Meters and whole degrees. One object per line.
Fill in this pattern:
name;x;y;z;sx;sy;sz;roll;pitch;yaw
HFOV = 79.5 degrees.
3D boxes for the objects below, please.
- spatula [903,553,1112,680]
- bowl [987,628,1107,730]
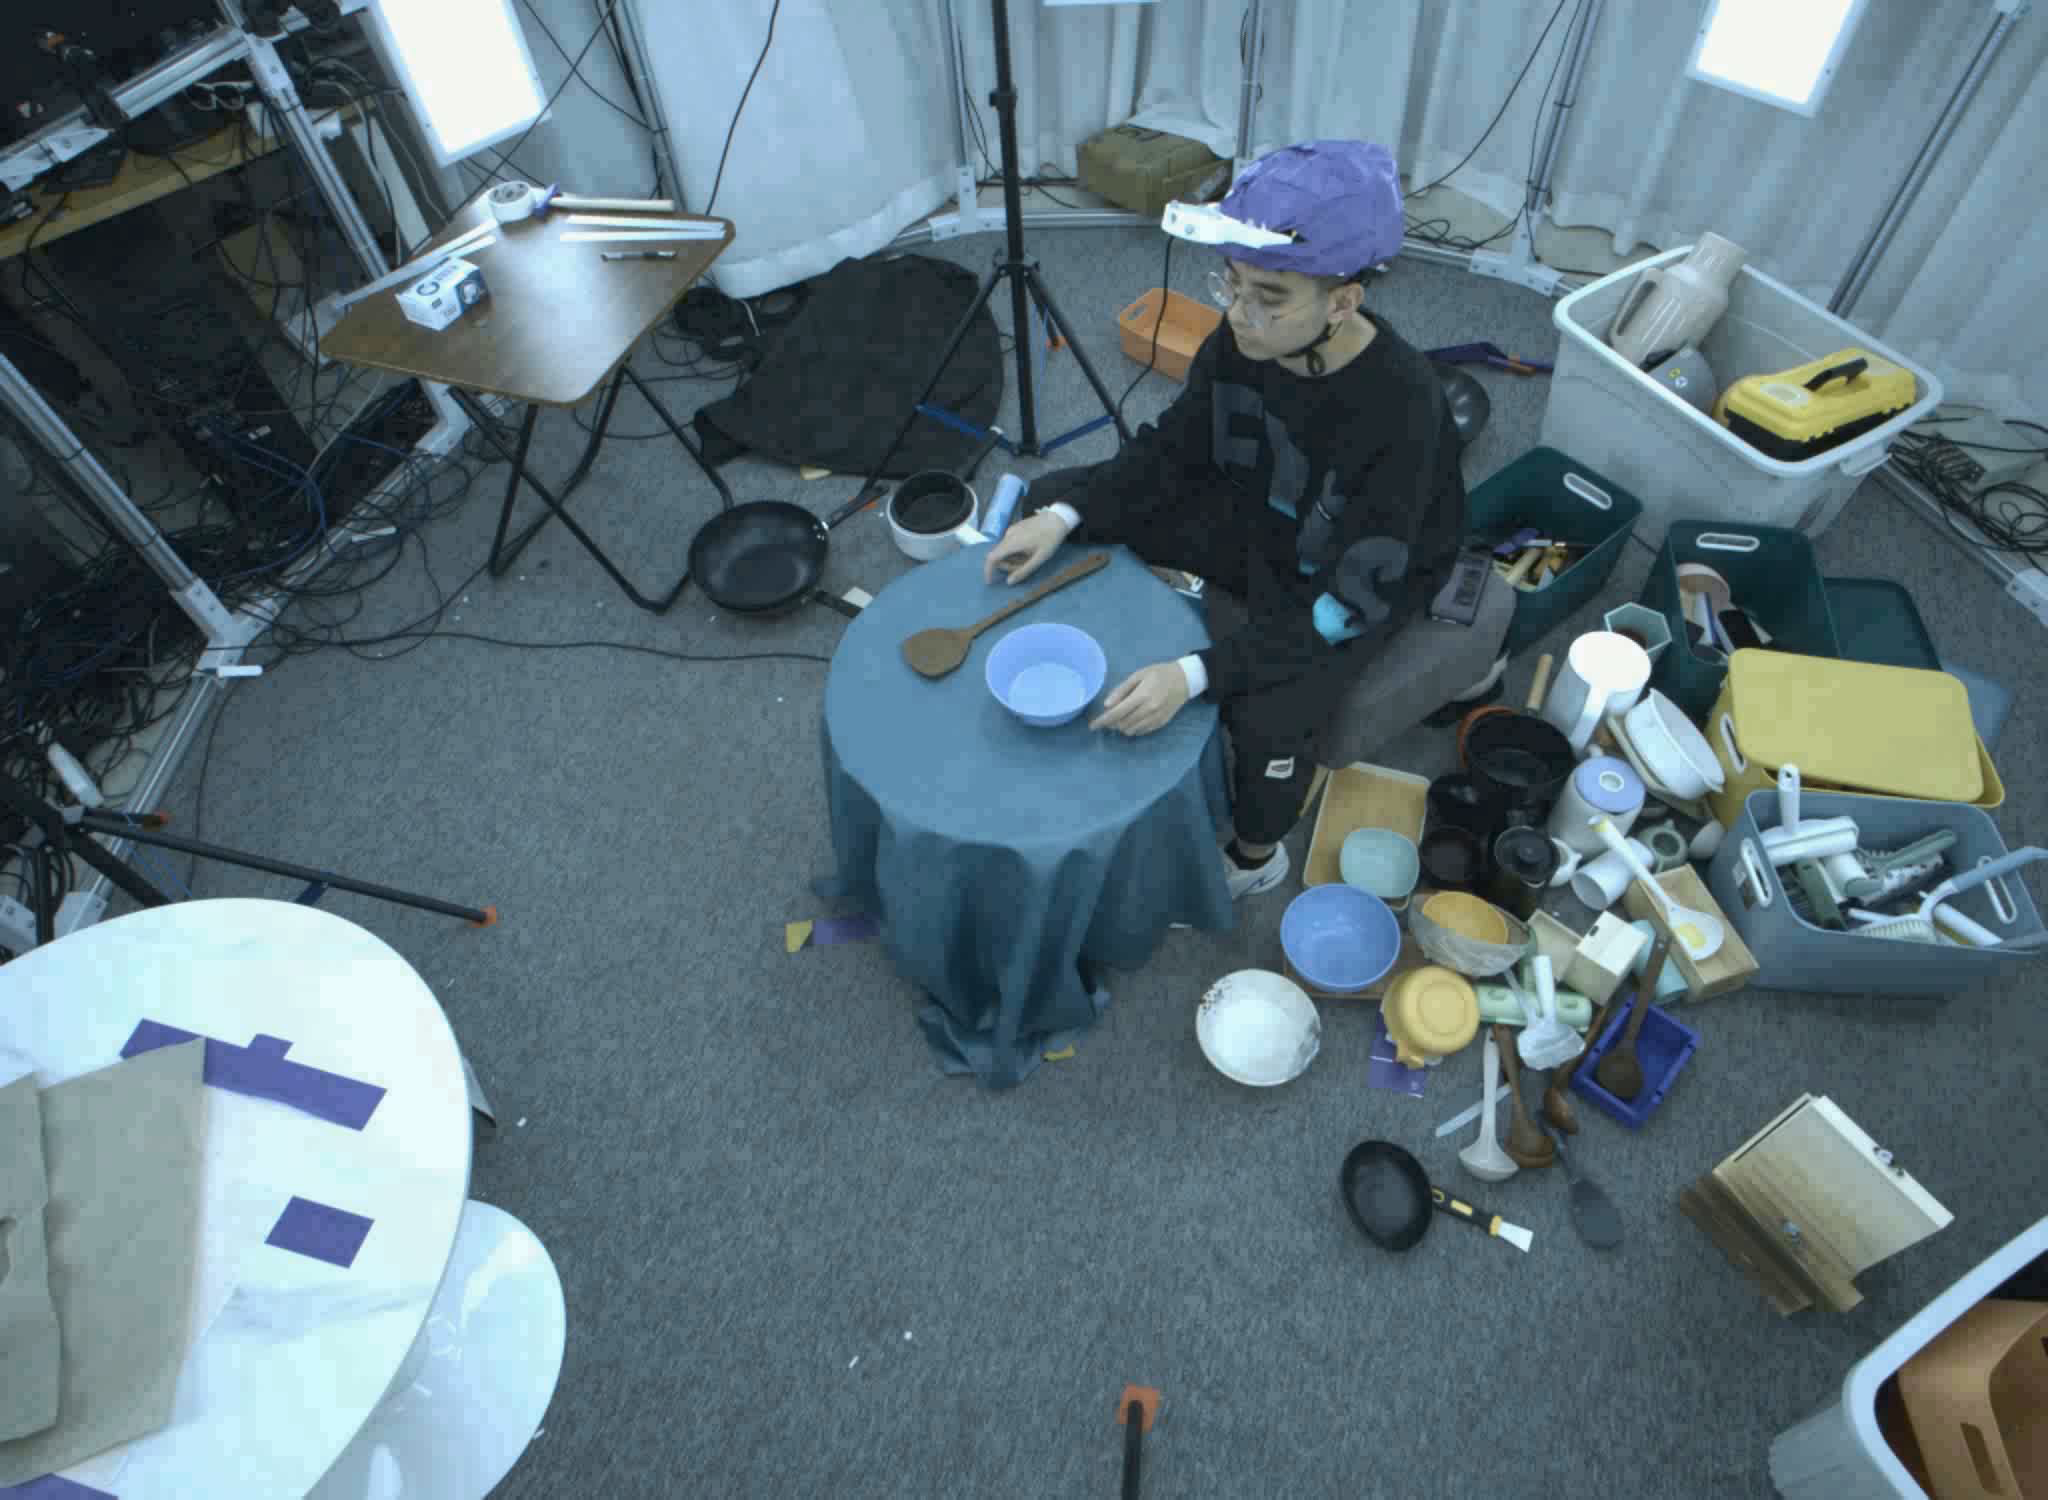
spatula;-0.016;-0.223;1.946;0.389;0.016;0.094;-32;60;-19
bowl;0.035;-0.096;1.821;0.176;0.071;0.174;0;55;1
